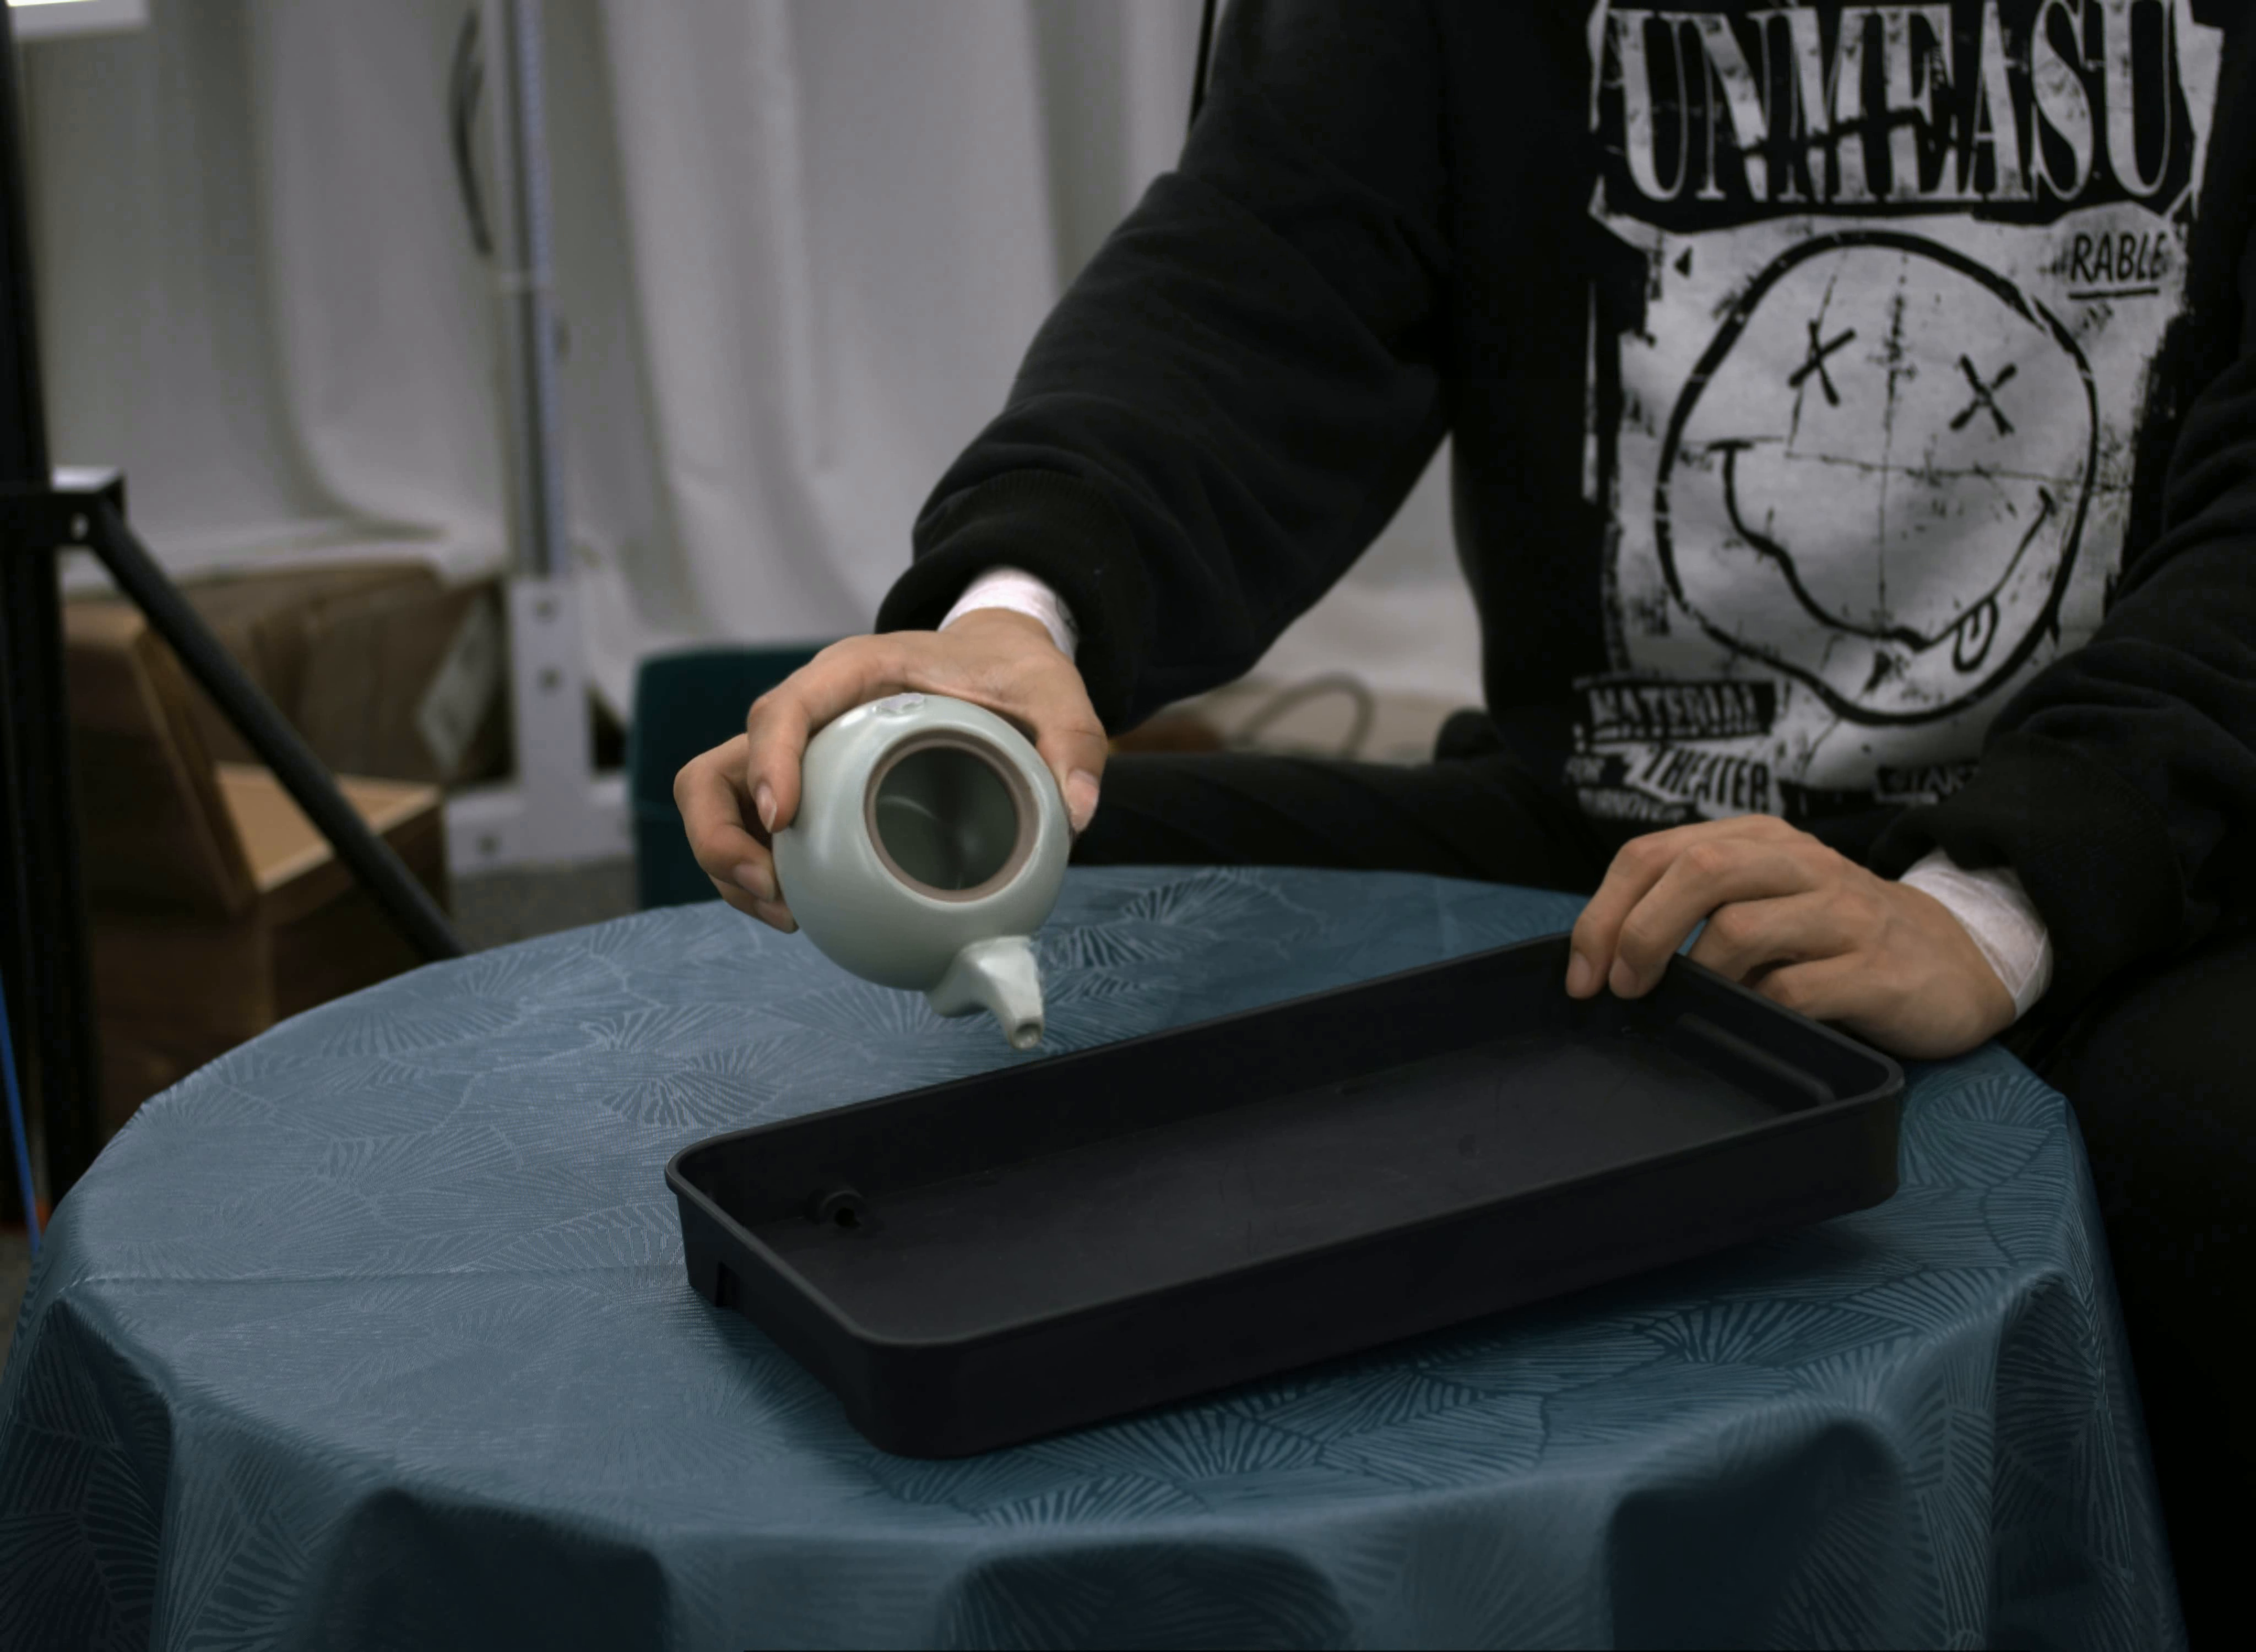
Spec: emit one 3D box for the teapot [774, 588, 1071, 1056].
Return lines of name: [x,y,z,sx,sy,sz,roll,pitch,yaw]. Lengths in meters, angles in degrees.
teapot: [-0.060,0.004,1.566,0.086,0.145,0.075,-13,-8,-22]

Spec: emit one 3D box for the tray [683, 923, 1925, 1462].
tray: [0.050,0.097,1.486,0.312,0.037,0.188,-14,18,-22]
